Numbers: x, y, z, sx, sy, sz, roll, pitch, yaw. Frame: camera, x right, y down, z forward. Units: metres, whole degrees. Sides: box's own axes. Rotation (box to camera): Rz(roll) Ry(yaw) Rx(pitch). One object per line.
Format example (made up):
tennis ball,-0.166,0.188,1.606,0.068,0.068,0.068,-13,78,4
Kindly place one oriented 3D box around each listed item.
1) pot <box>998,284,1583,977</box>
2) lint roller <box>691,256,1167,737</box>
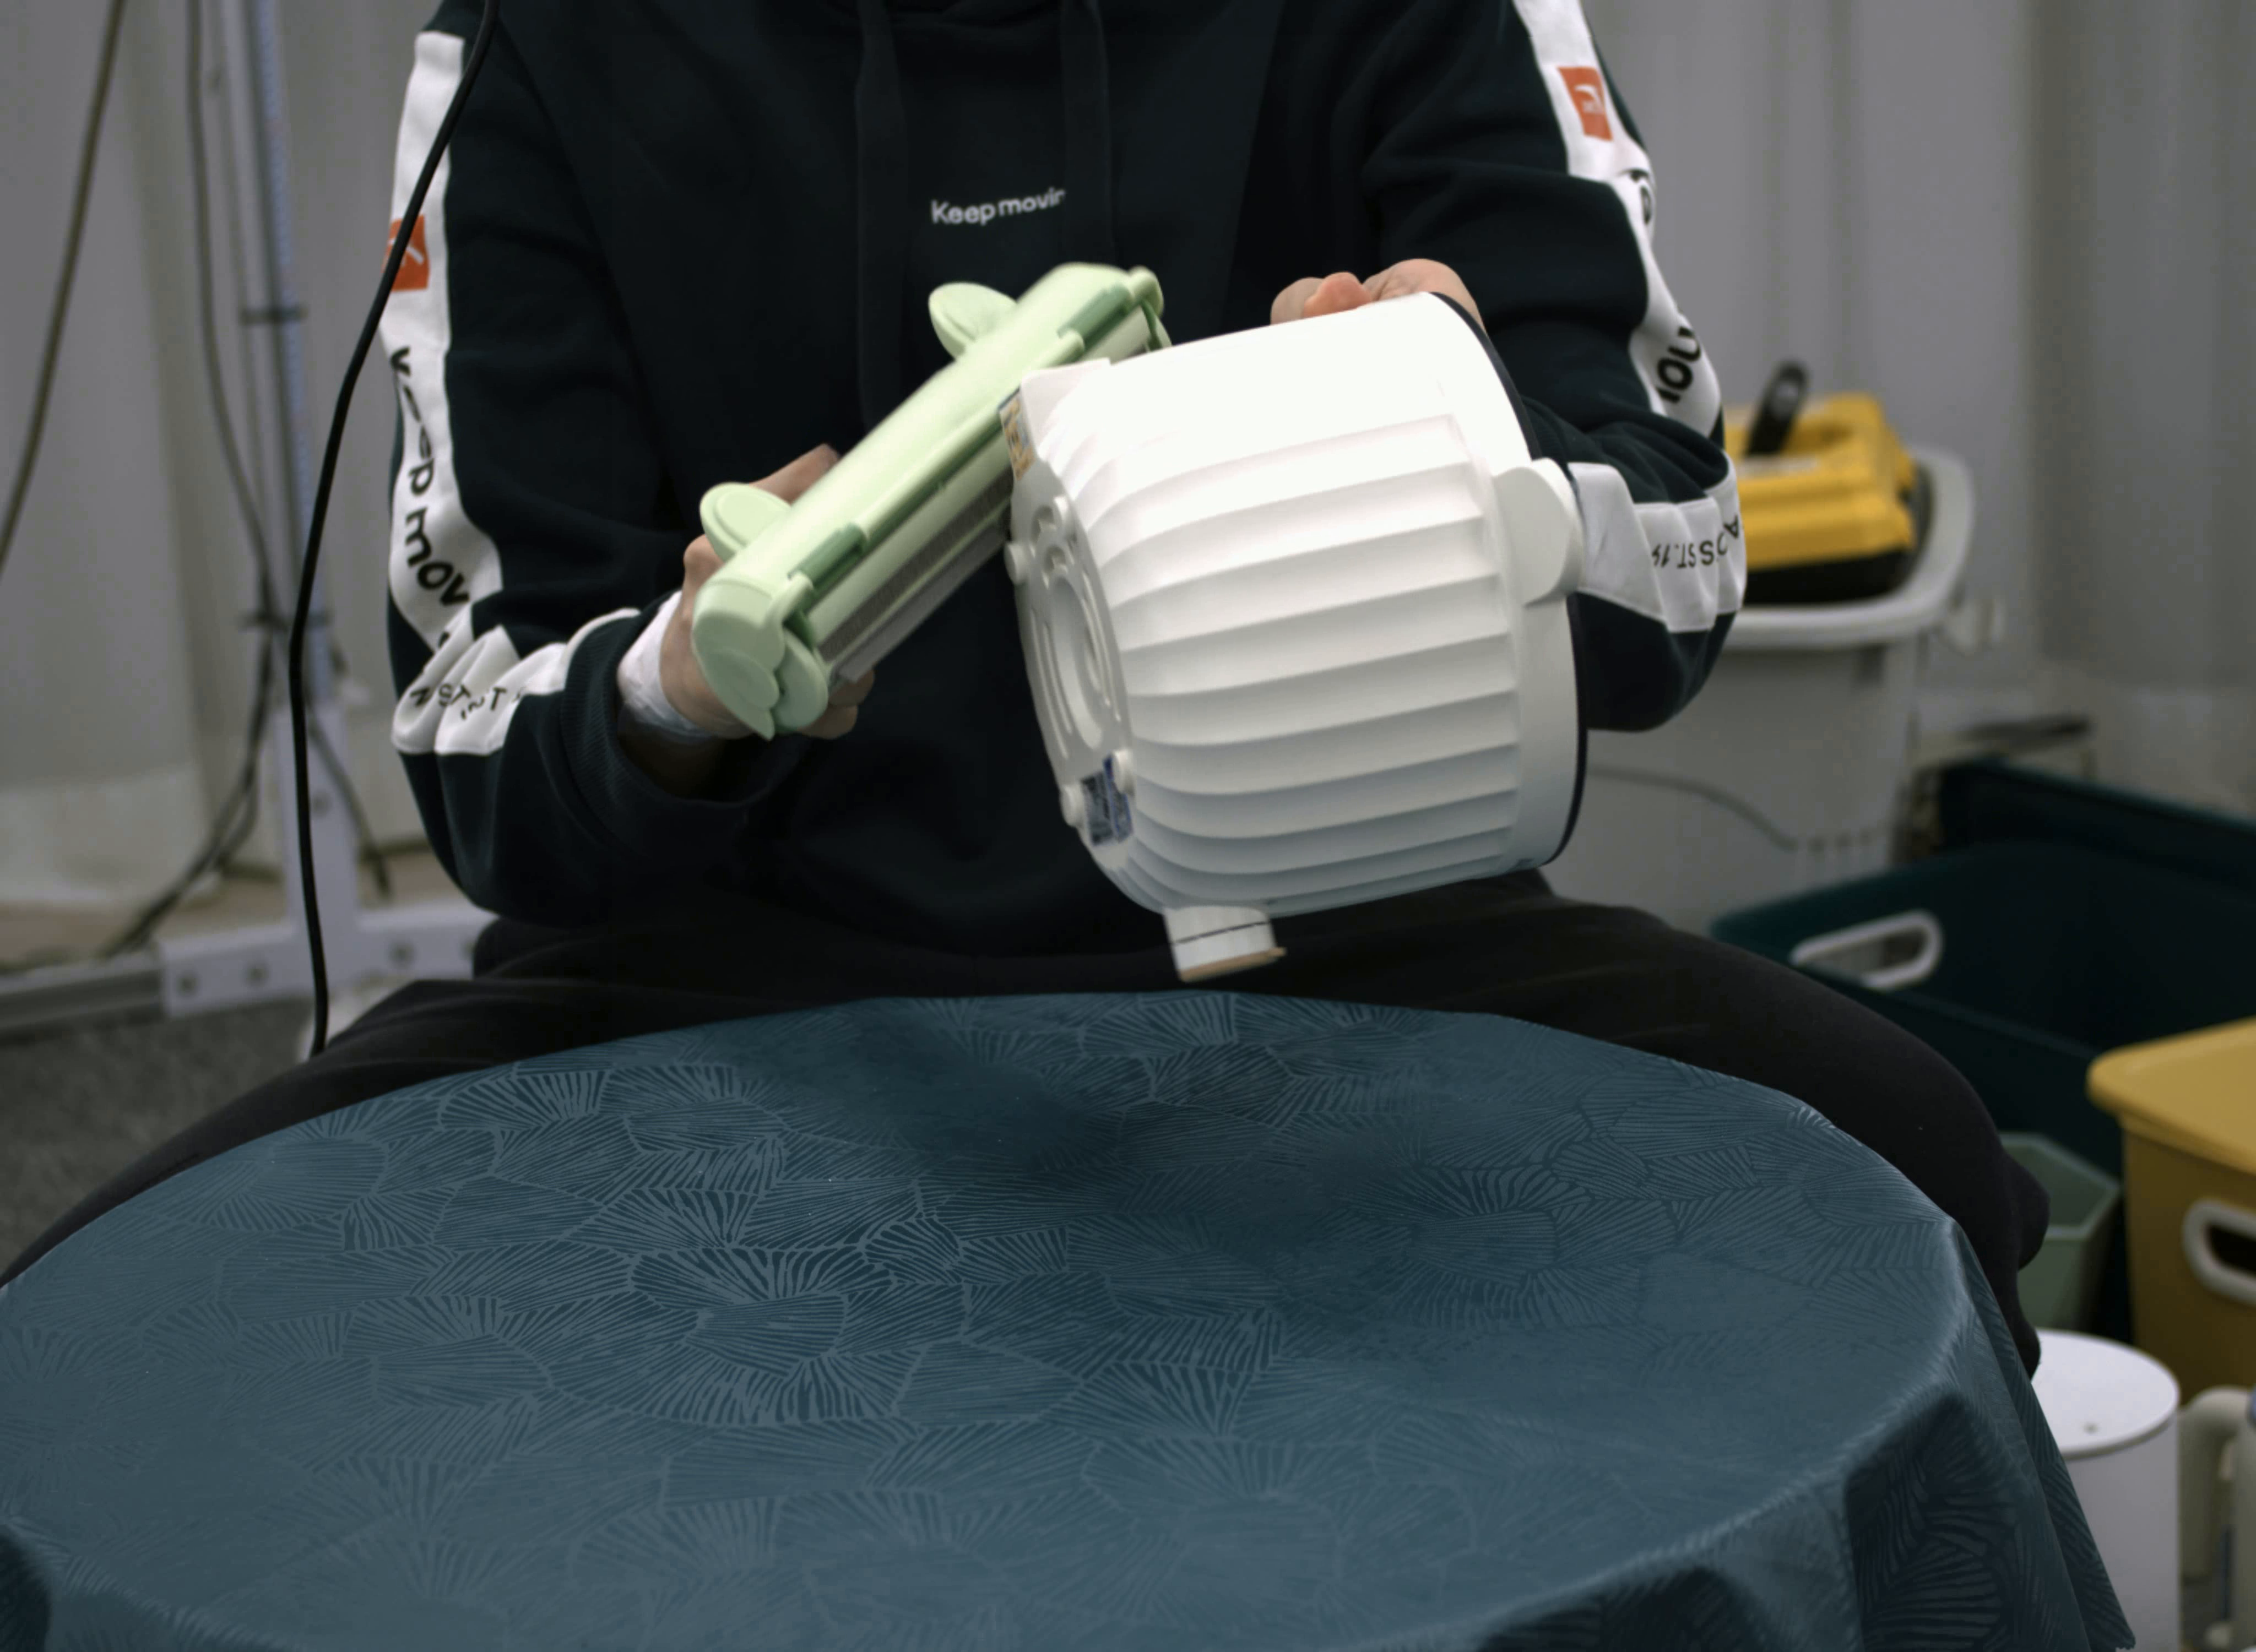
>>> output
pot,0.045,-0.059,1.673,0.142,0.191,0.240,-14,-4,-12
lint roller,-0.092,-0.097,1.761,0.200,0.082,0.183,-46,10,-34
